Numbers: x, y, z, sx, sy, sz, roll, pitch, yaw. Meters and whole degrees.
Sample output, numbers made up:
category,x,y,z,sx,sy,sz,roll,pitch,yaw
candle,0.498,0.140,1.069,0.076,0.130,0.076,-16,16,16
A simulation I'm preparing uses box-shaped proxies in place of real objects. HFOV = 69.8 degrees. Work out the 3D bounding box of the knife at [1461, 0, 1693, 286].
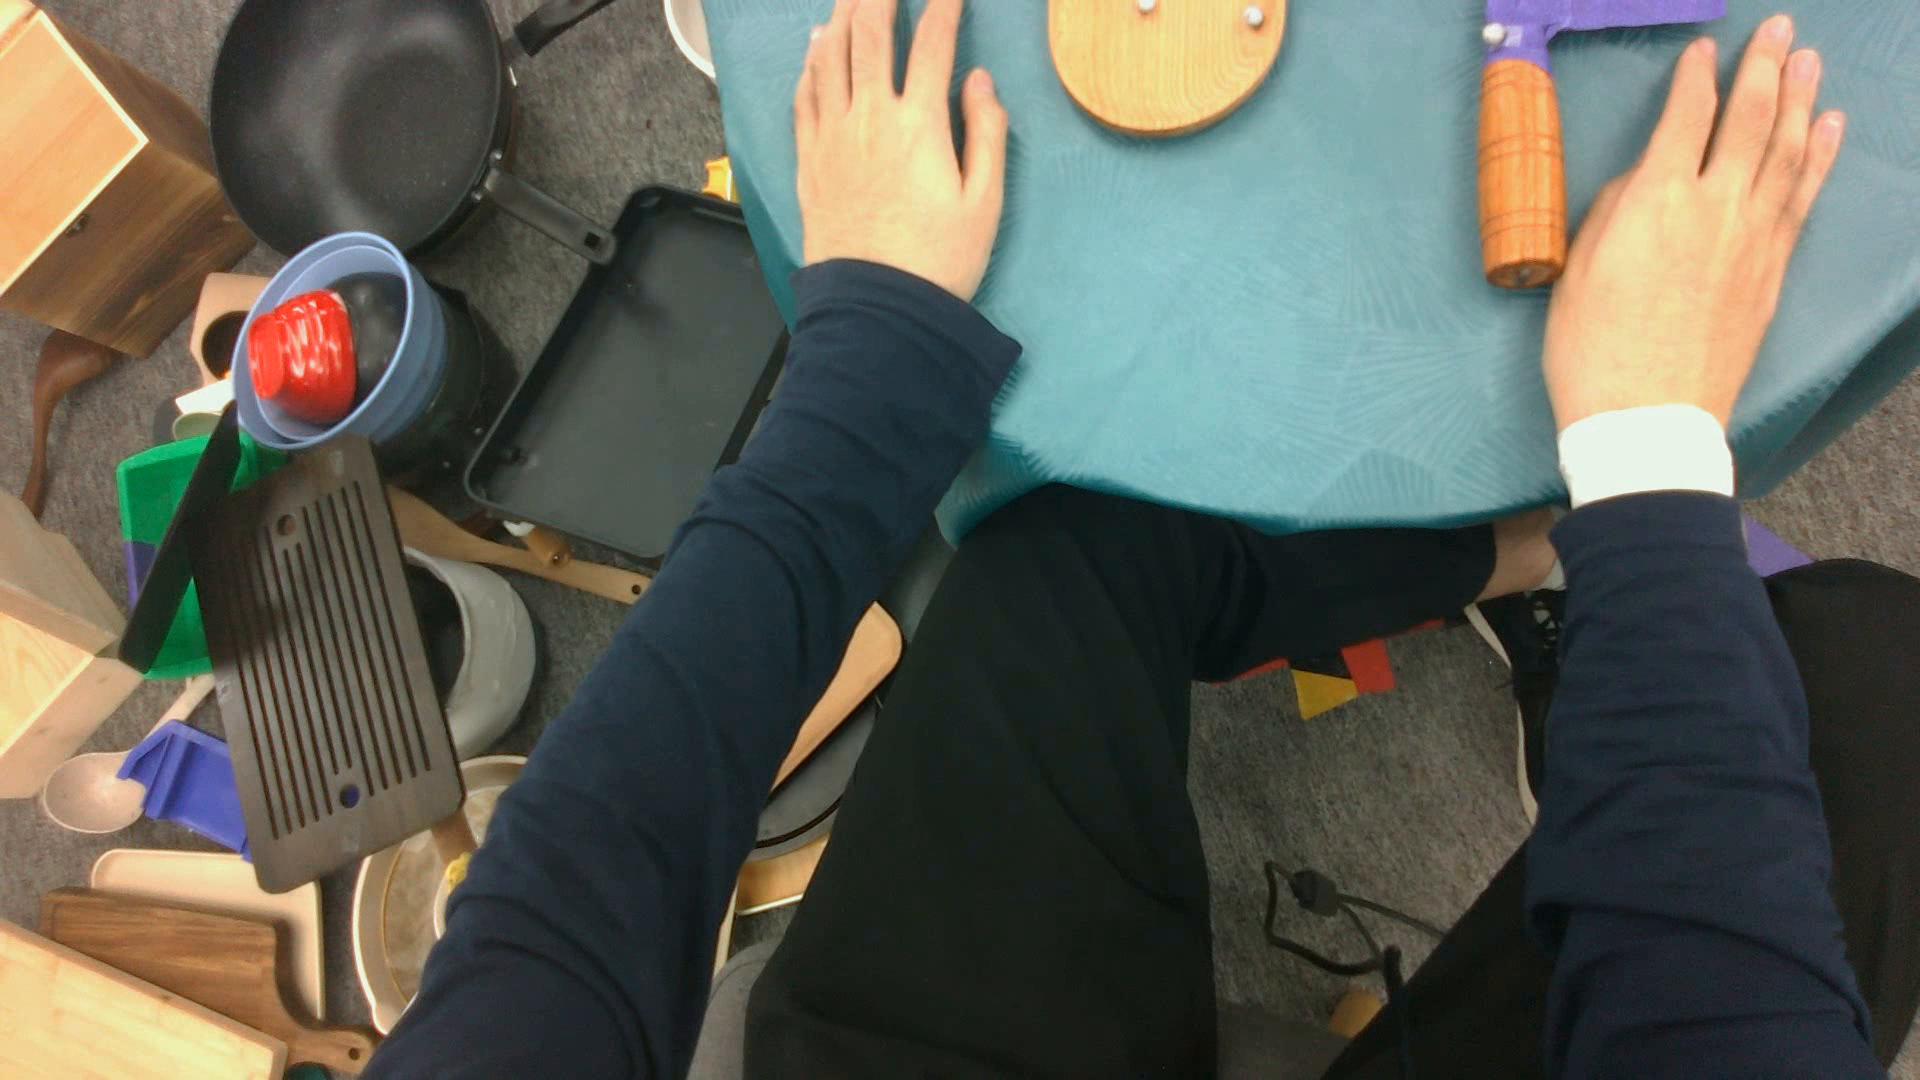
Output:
category,x,y,z,sx,sy,sz,roll,pitch,yaw
knife,0.251,-0.260,0.566,0.104,0.032,0.316,-1,80,12

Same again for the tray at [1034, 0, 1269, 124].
category,x,y,z,sx,sy,sz,roll,pitch,yaw
tray,0.083,-0.294,0.612,0.101,0.020,0.231,-2,79,11
